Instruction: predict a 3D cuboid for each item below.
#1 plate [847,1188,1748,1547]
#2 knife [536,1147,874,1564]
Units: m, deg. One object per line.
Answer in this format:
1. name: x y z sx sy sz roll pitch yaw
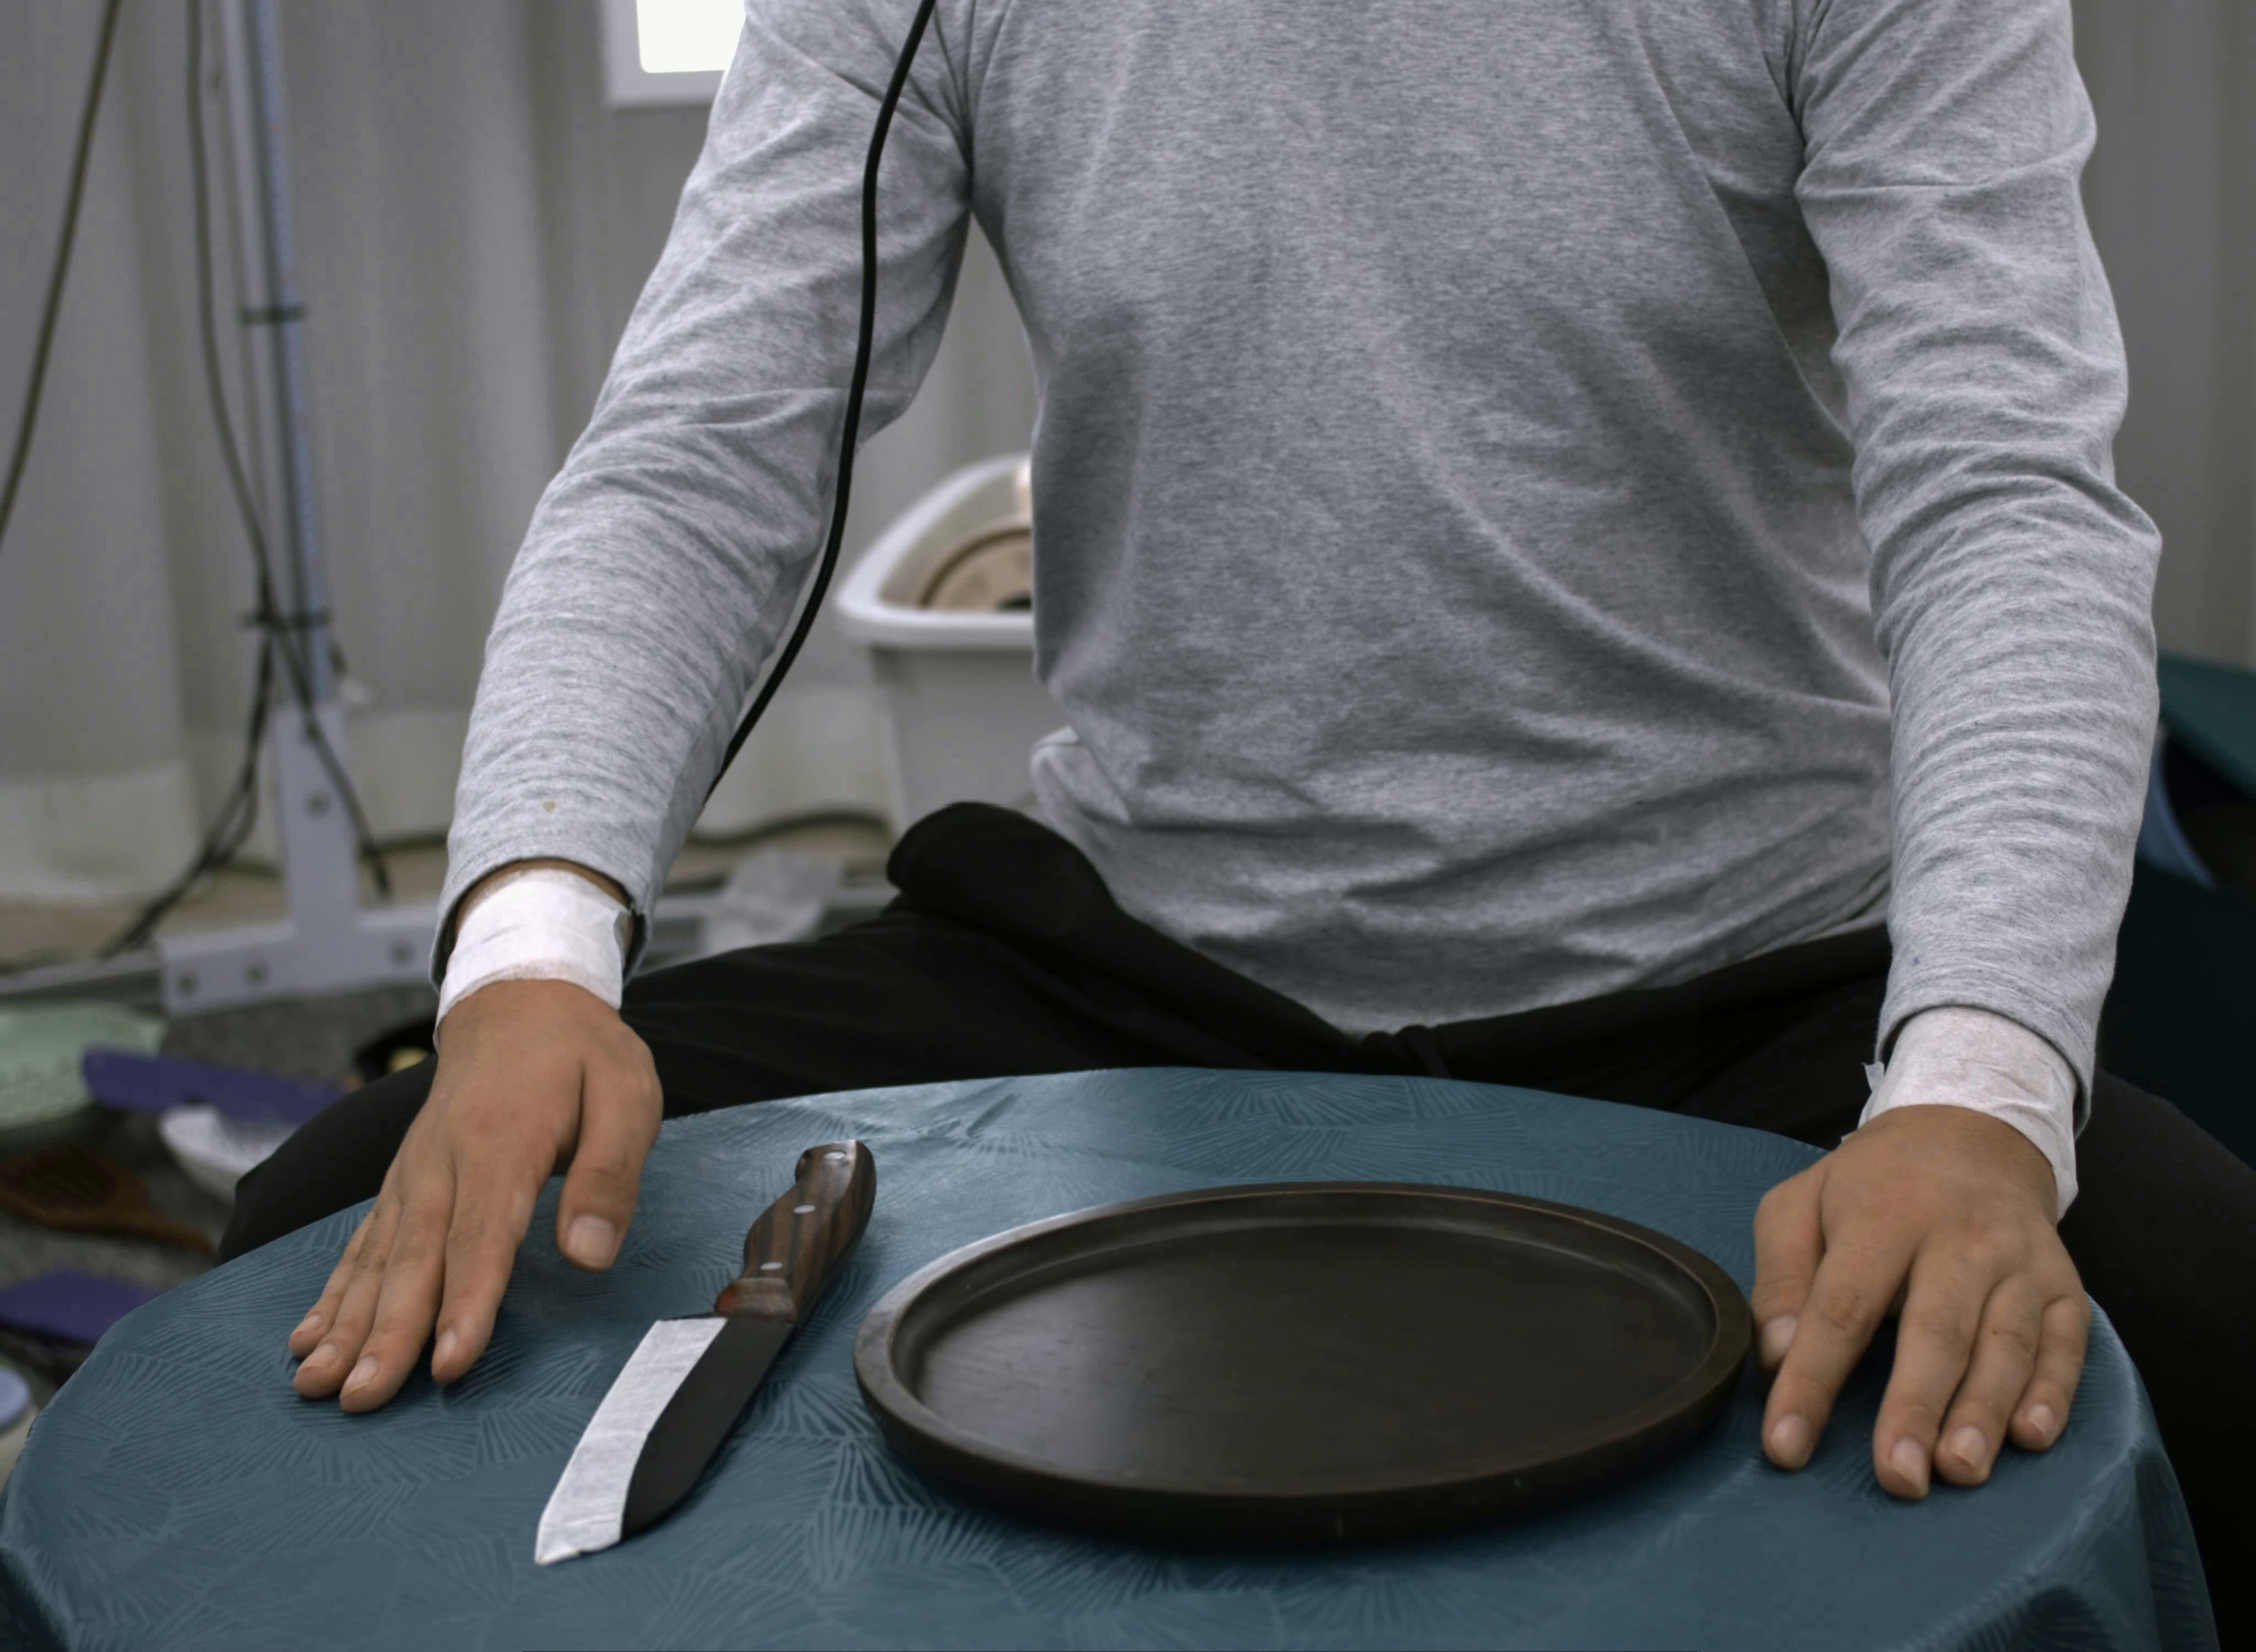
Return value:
1. plate: 0.048 0.149 1.533 0.254 0.029 0.256 -4 13 1
2. knife: -0.119 0.151 1.574 0.050 0.020 0.291 -4 16 15
